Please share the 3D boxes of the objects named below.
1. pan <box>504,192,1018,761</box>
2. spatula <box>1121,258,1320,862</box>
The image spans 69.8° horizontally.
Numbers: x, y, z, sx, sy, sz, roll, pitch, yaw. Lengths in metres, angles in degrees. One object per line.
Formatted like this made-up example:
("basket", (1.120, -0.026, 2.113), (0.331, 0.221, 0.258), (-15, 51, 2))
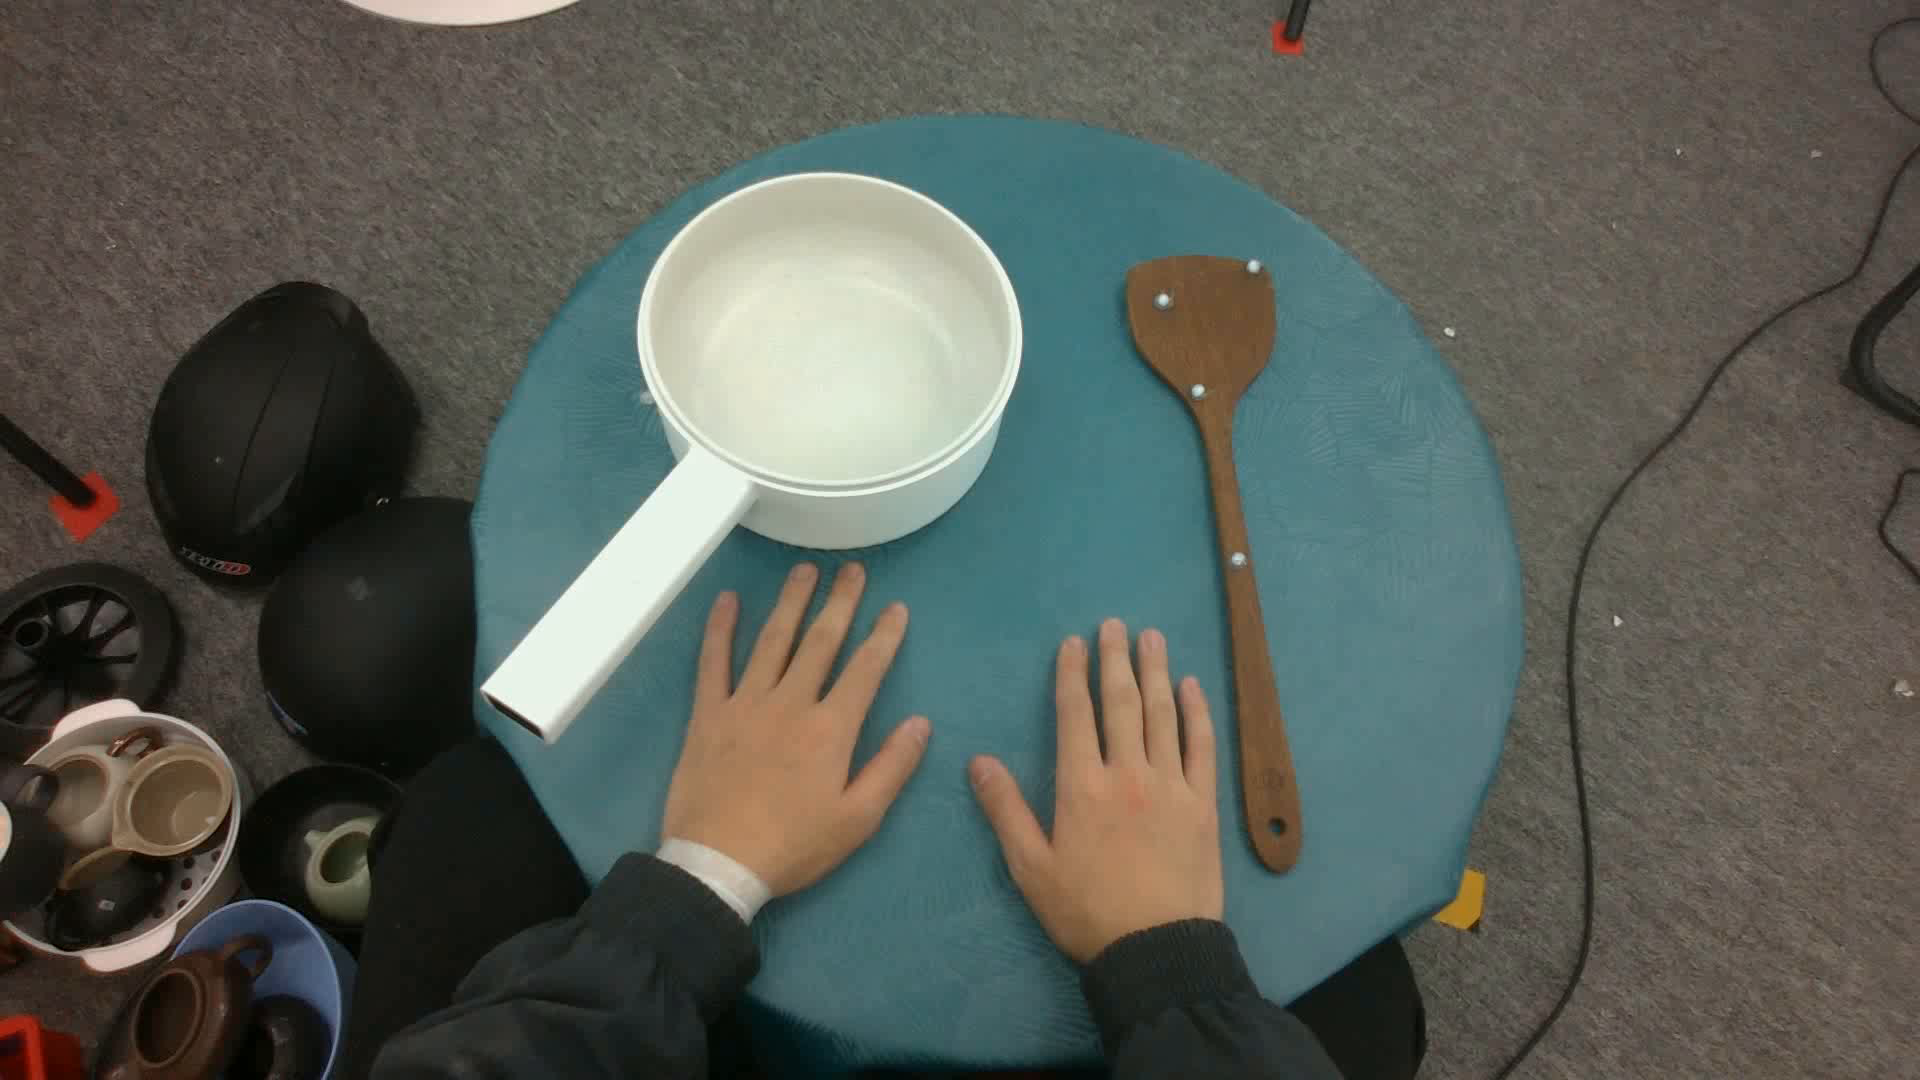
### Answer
("pan", (-0.110, -0.028, 0.751), (0.201, 0.101, 0.356), (29, 67, 9))
("spatula", (0.162, -0.006, 0.803), (0.096, 0.016, 0.387), (-3, 64, -4))
